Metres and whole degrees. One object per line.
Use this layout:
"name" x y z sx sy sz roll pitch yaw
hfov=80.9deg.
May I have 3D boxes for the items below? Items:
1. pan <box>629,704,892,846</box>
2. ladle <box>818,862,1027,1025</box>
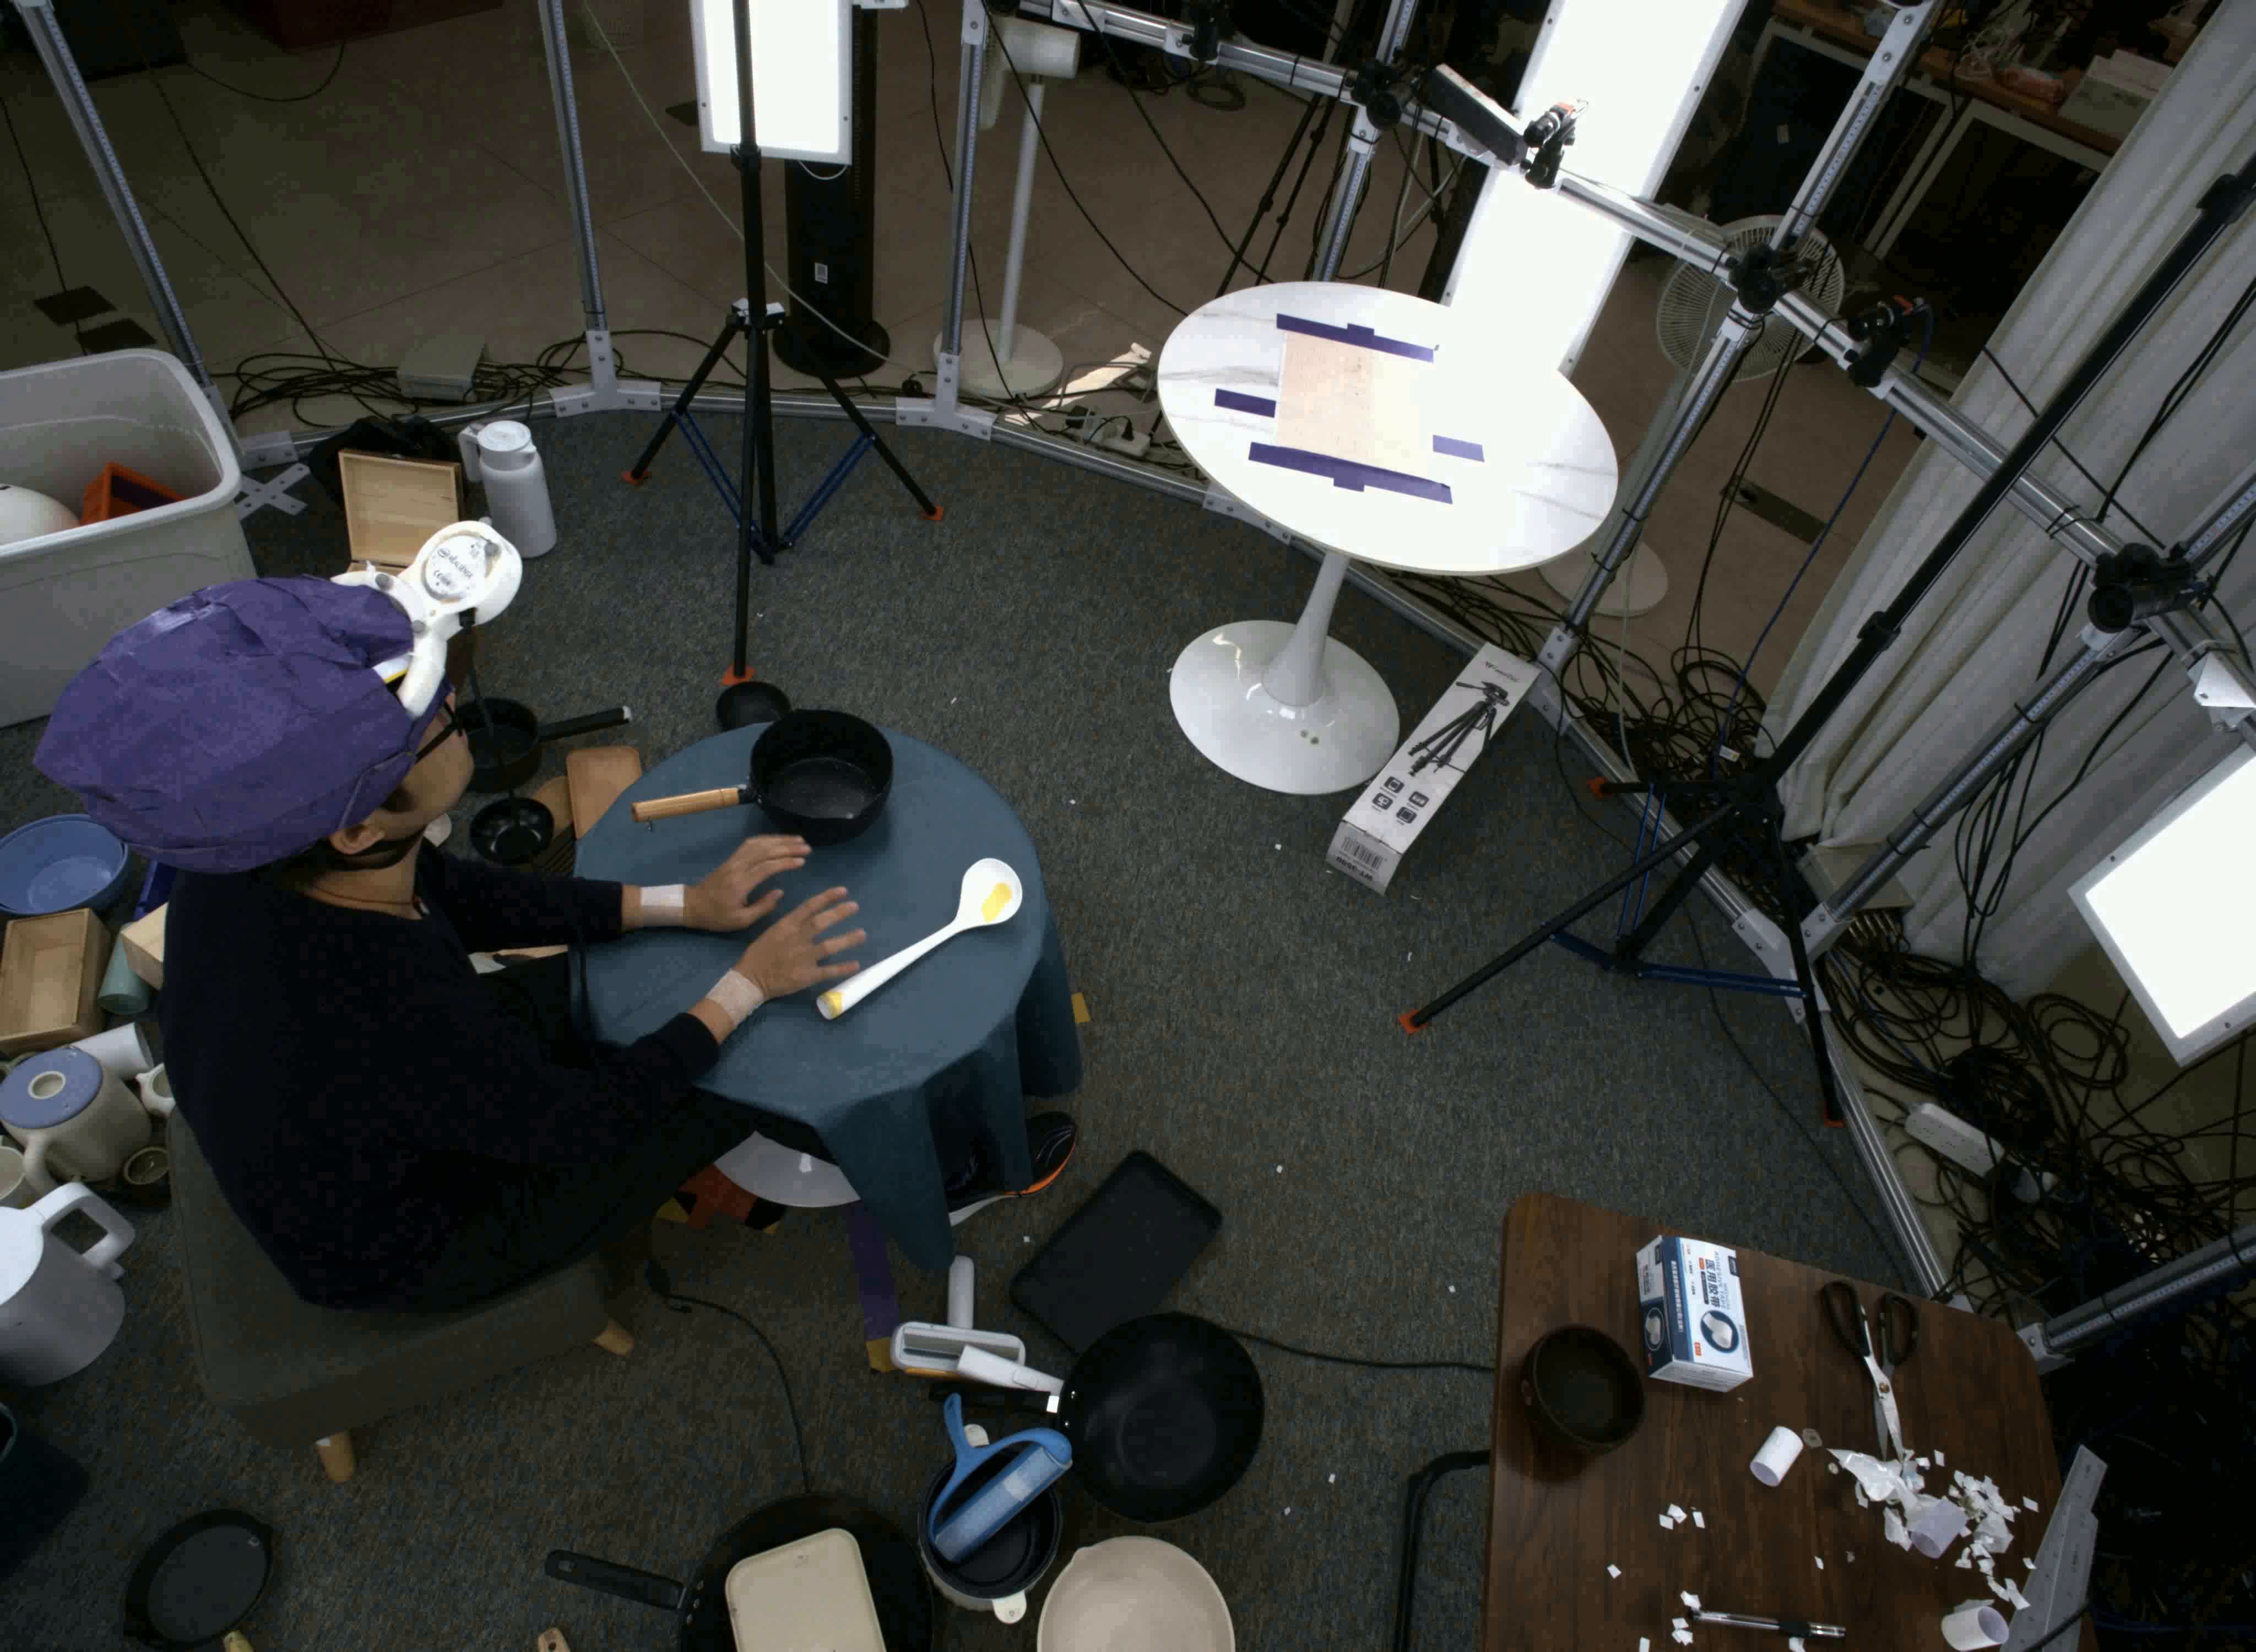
"pan" -0.469 -0.041 1.663 0.345 0.110 0.202 -21 62 -29
"ladle" -0.254 0.145 1.610 0.294 0.071 0.089 -32 73 -31
